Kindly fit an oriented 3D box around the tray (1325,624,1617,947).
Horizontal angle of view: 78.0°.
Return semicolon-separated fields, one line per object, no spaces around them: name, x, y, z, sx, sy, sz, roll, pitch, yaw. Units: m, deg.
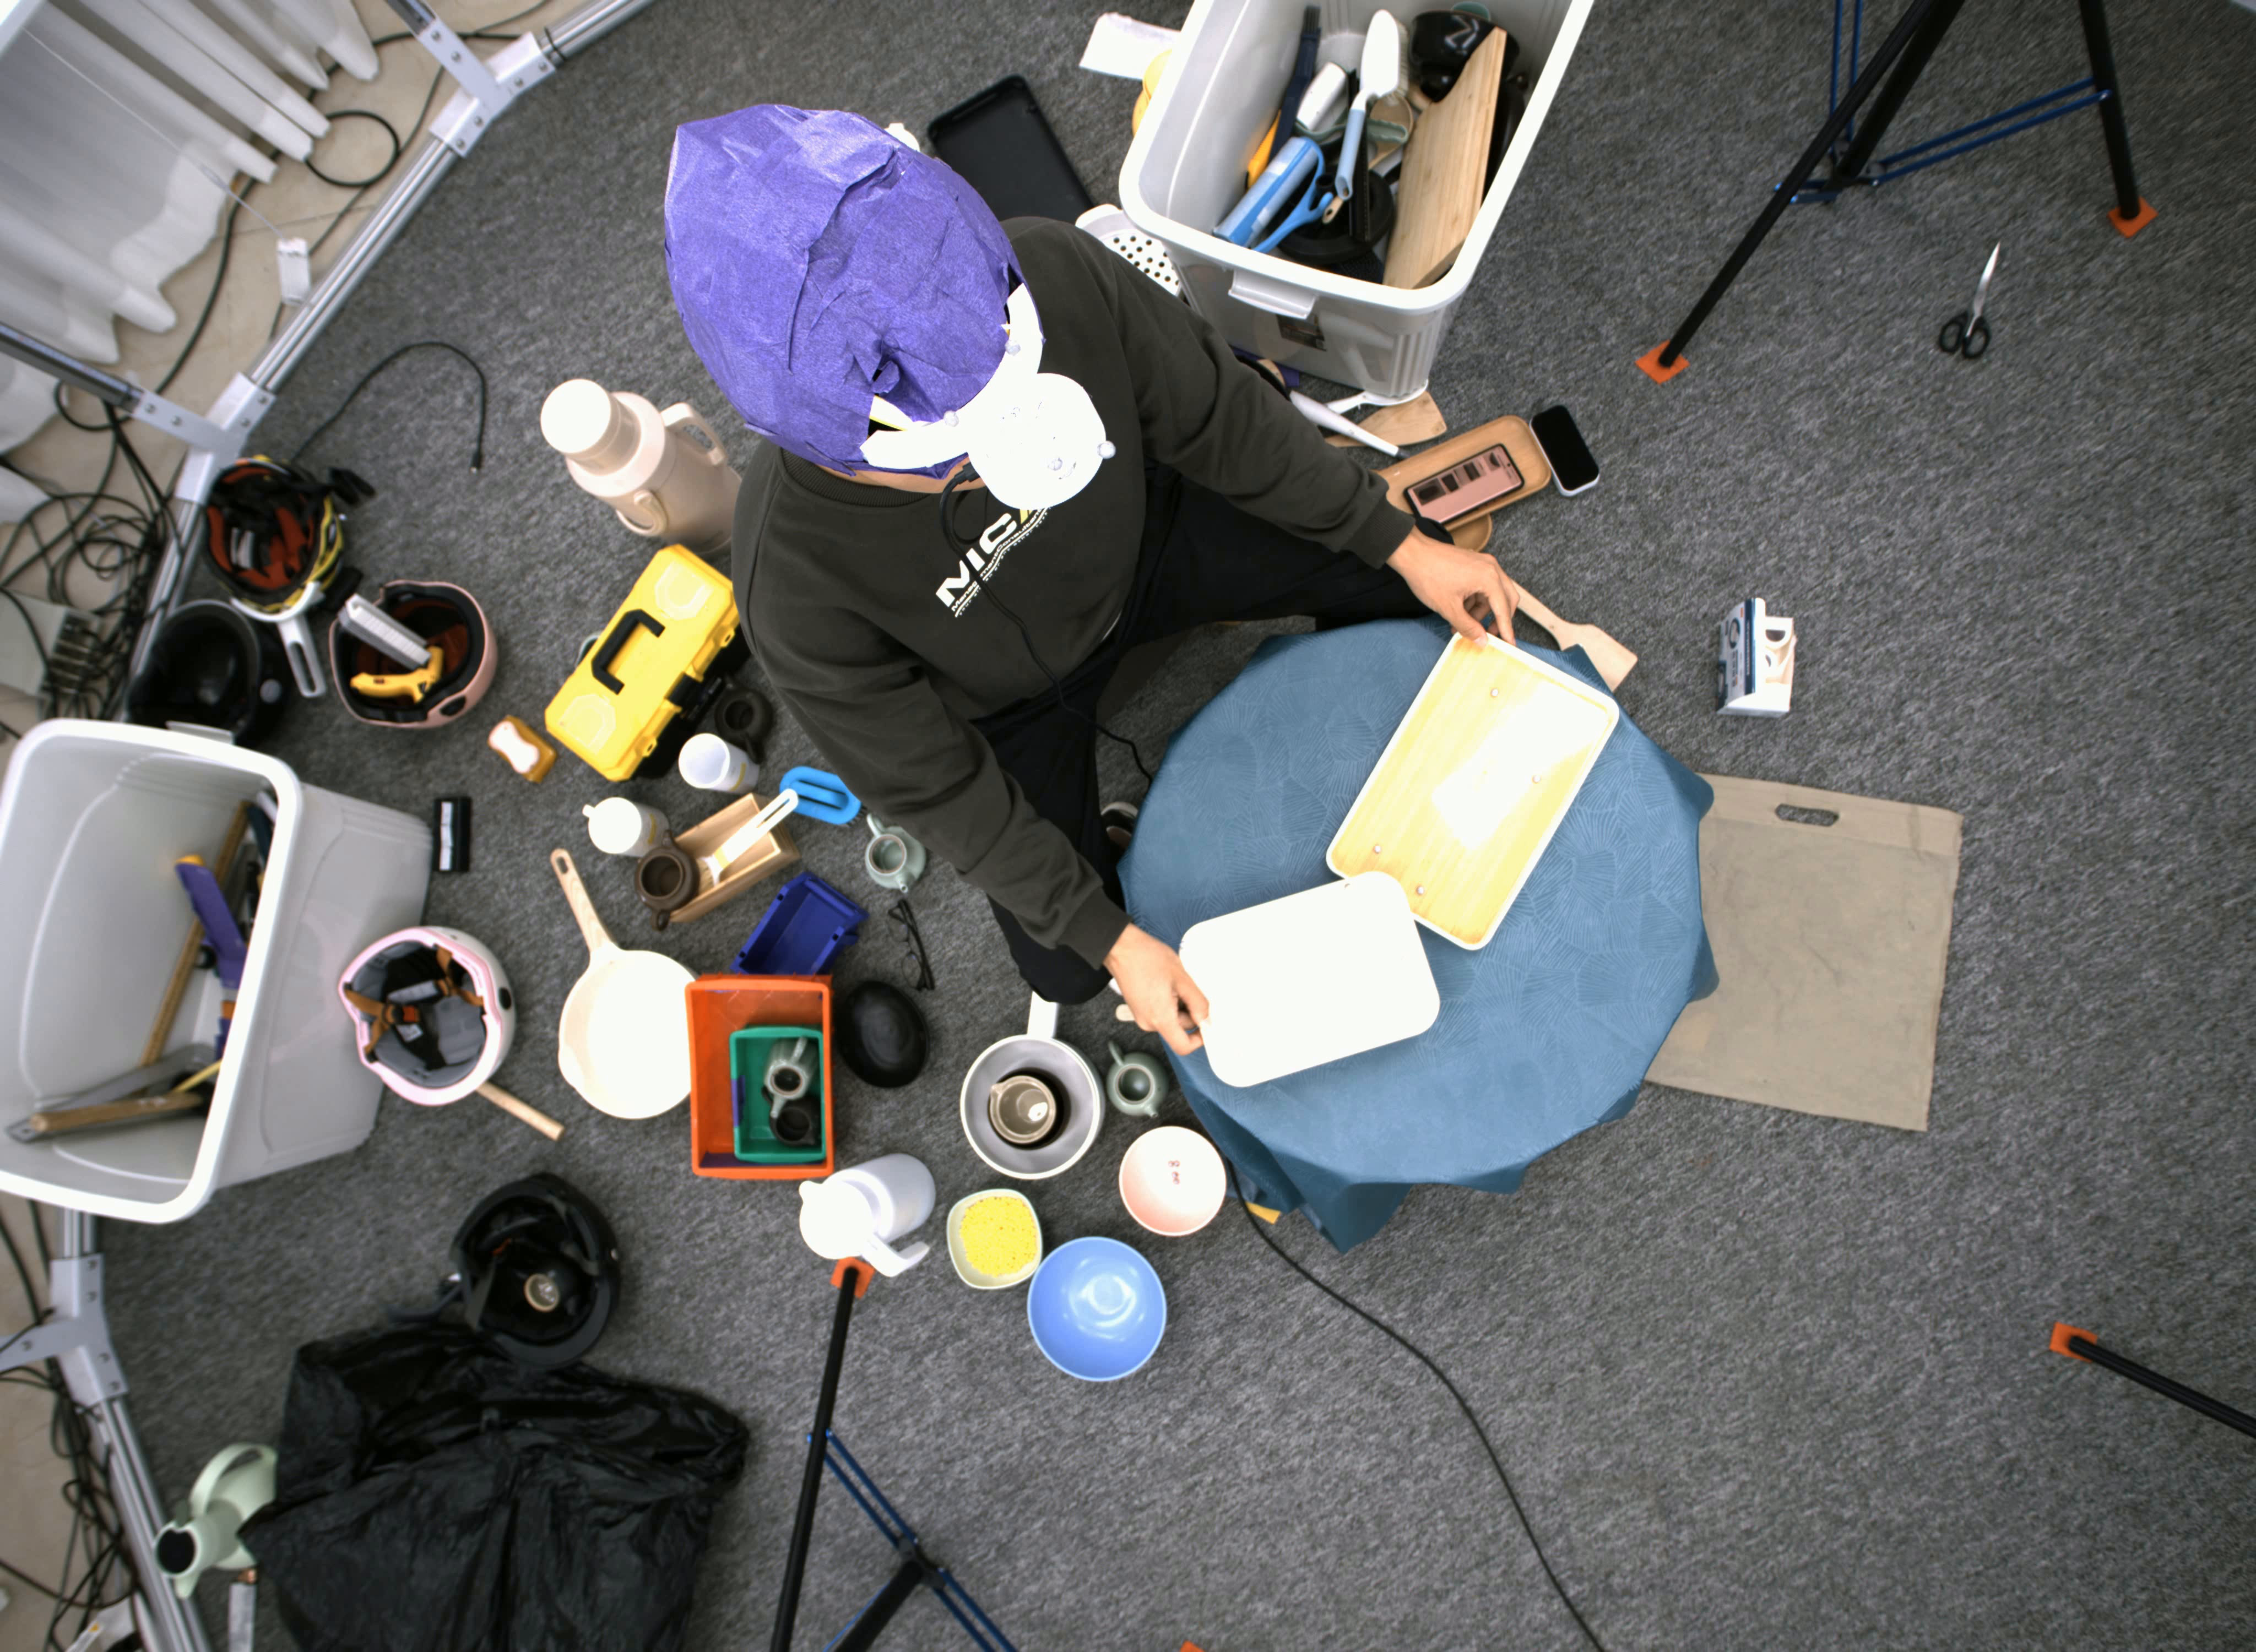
tray;0.357;-0.045;1.437;0.191;0.027;0.300;31;92;11

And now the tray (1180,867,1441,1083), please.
tray;0.184;0.149;1.400;0.240;0.017;0.170;-17;84;0
